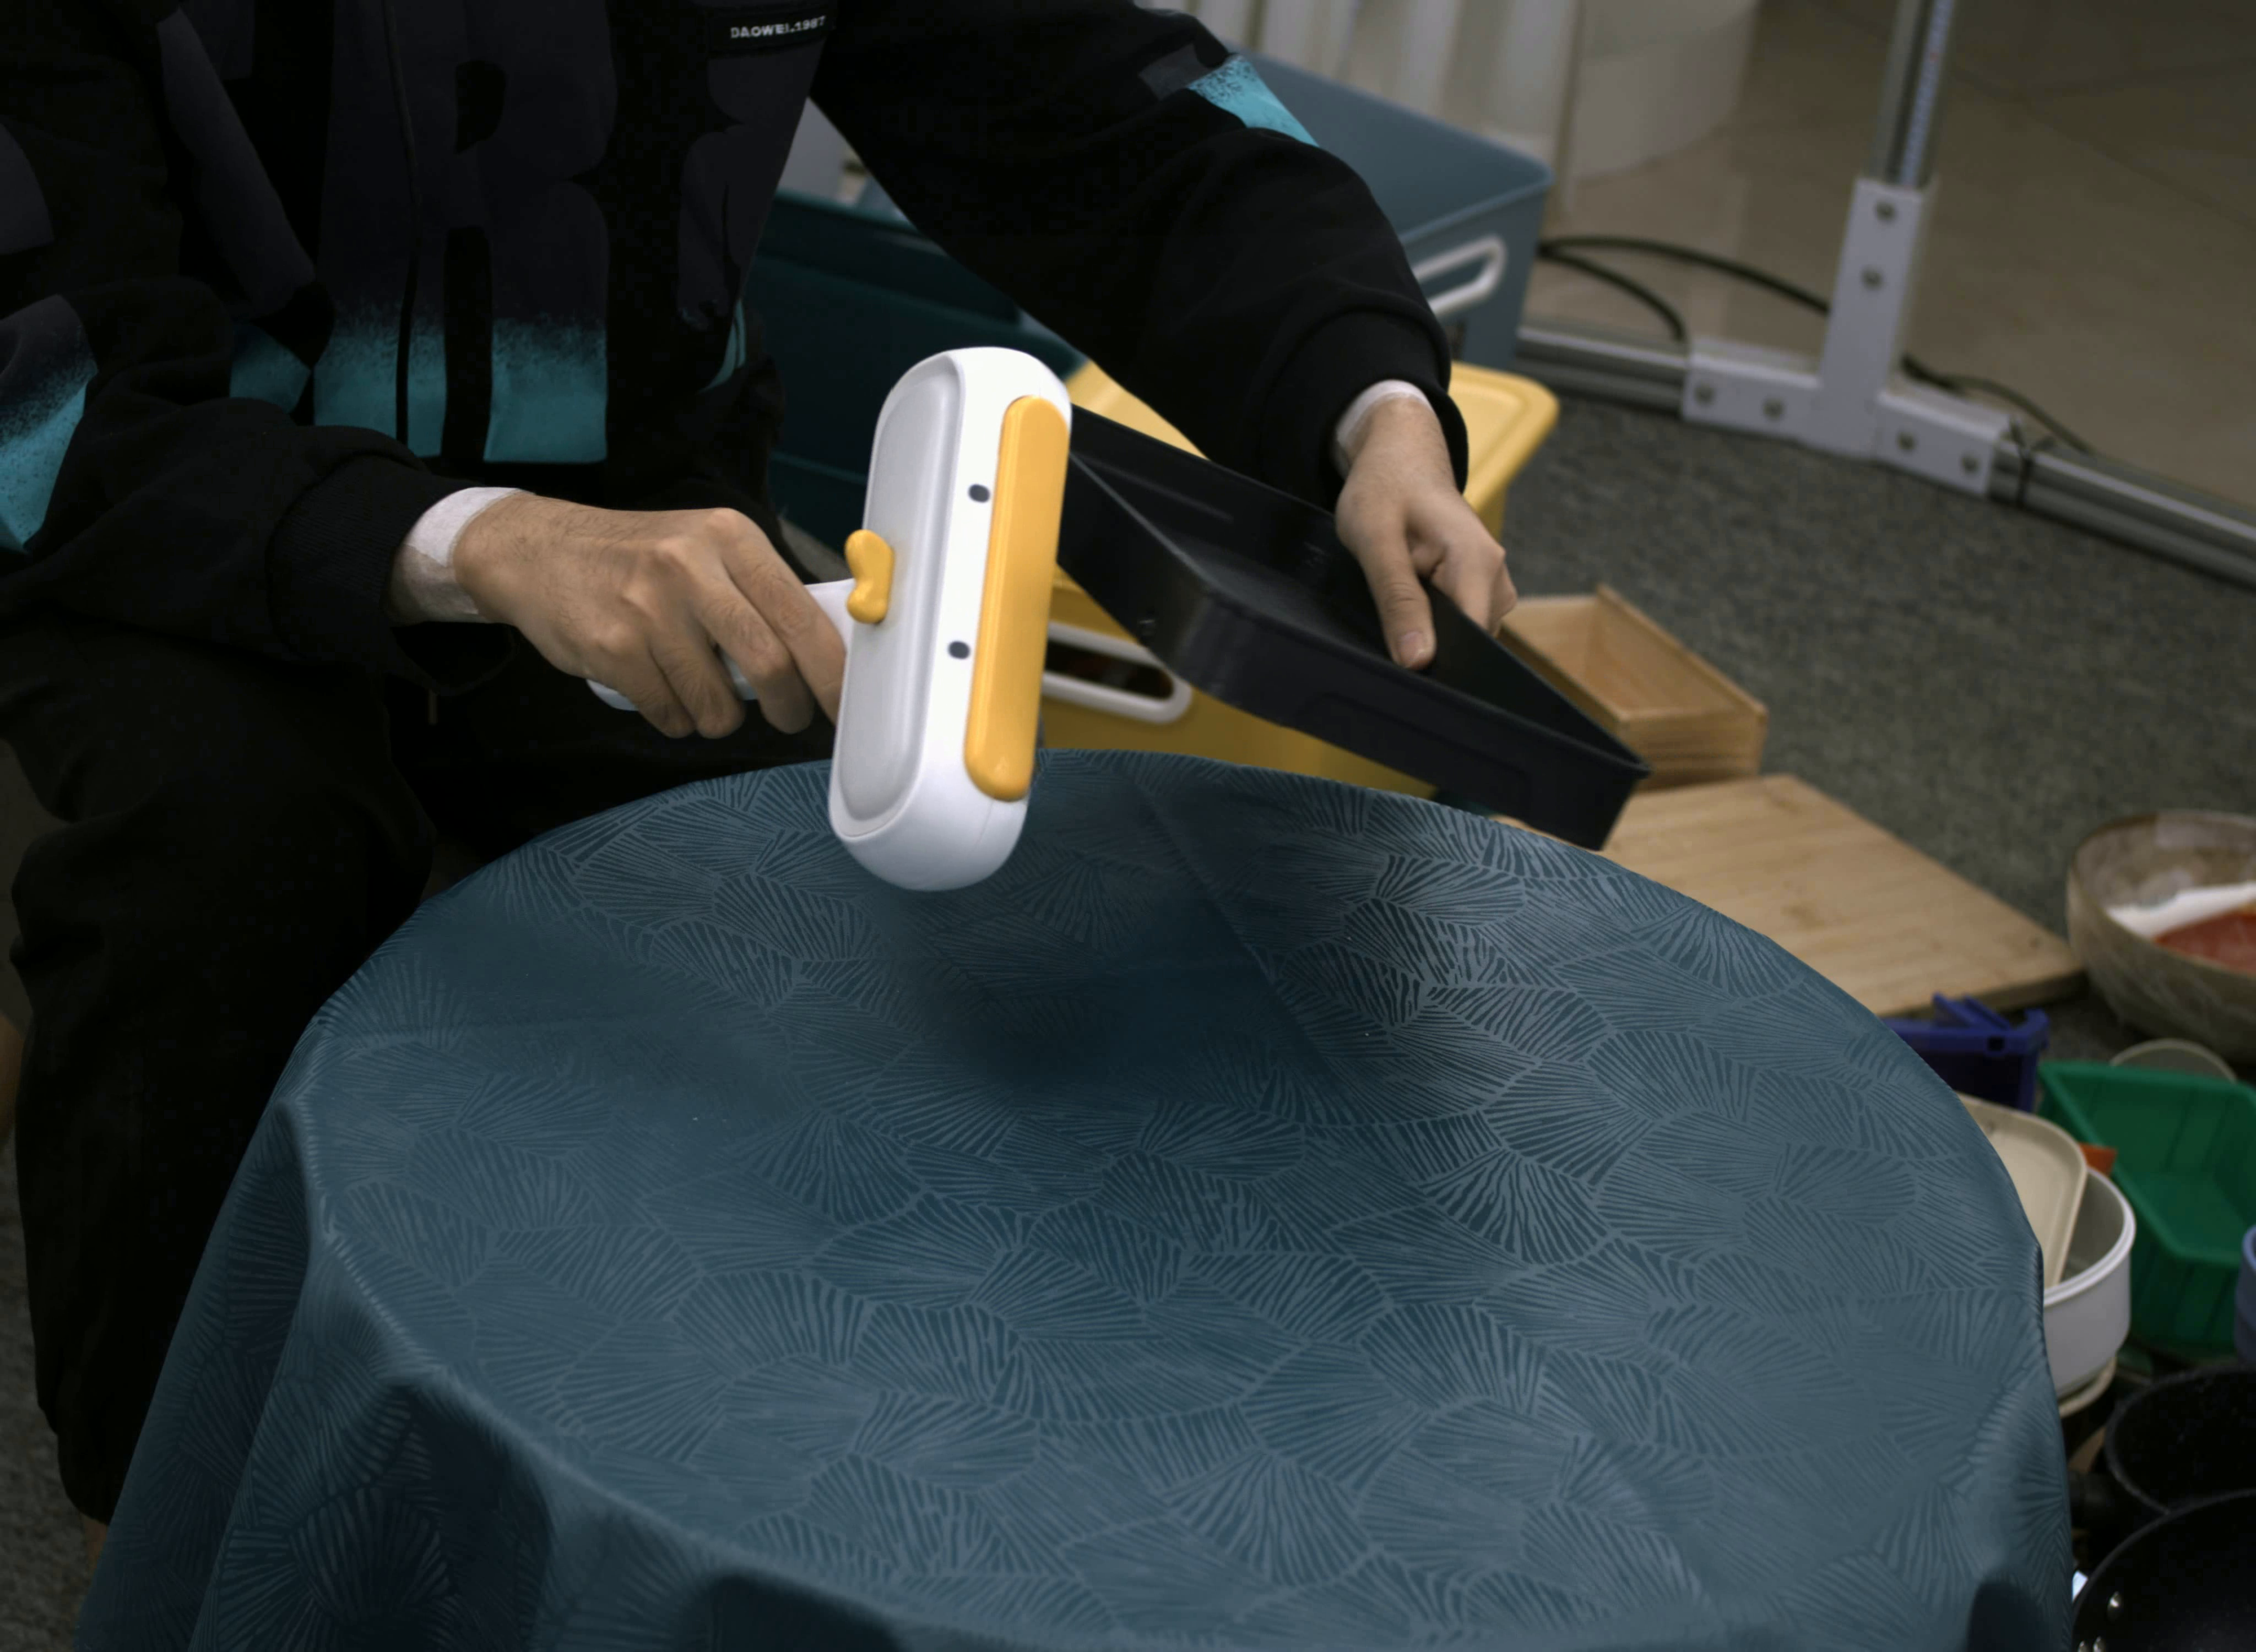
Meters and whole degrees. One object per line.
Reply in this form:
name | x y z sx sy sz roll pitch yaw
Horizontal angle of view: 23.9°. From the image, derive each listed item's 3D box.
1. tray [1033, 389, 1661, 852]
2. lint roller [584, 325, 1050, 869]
tray | 0.054 -0.083 1.925 0.183 0.037 0.320 21 11 -25
lint roller | -0.108 -0.067 1.850 0.073 0.194 0.193 19 -27 -41
